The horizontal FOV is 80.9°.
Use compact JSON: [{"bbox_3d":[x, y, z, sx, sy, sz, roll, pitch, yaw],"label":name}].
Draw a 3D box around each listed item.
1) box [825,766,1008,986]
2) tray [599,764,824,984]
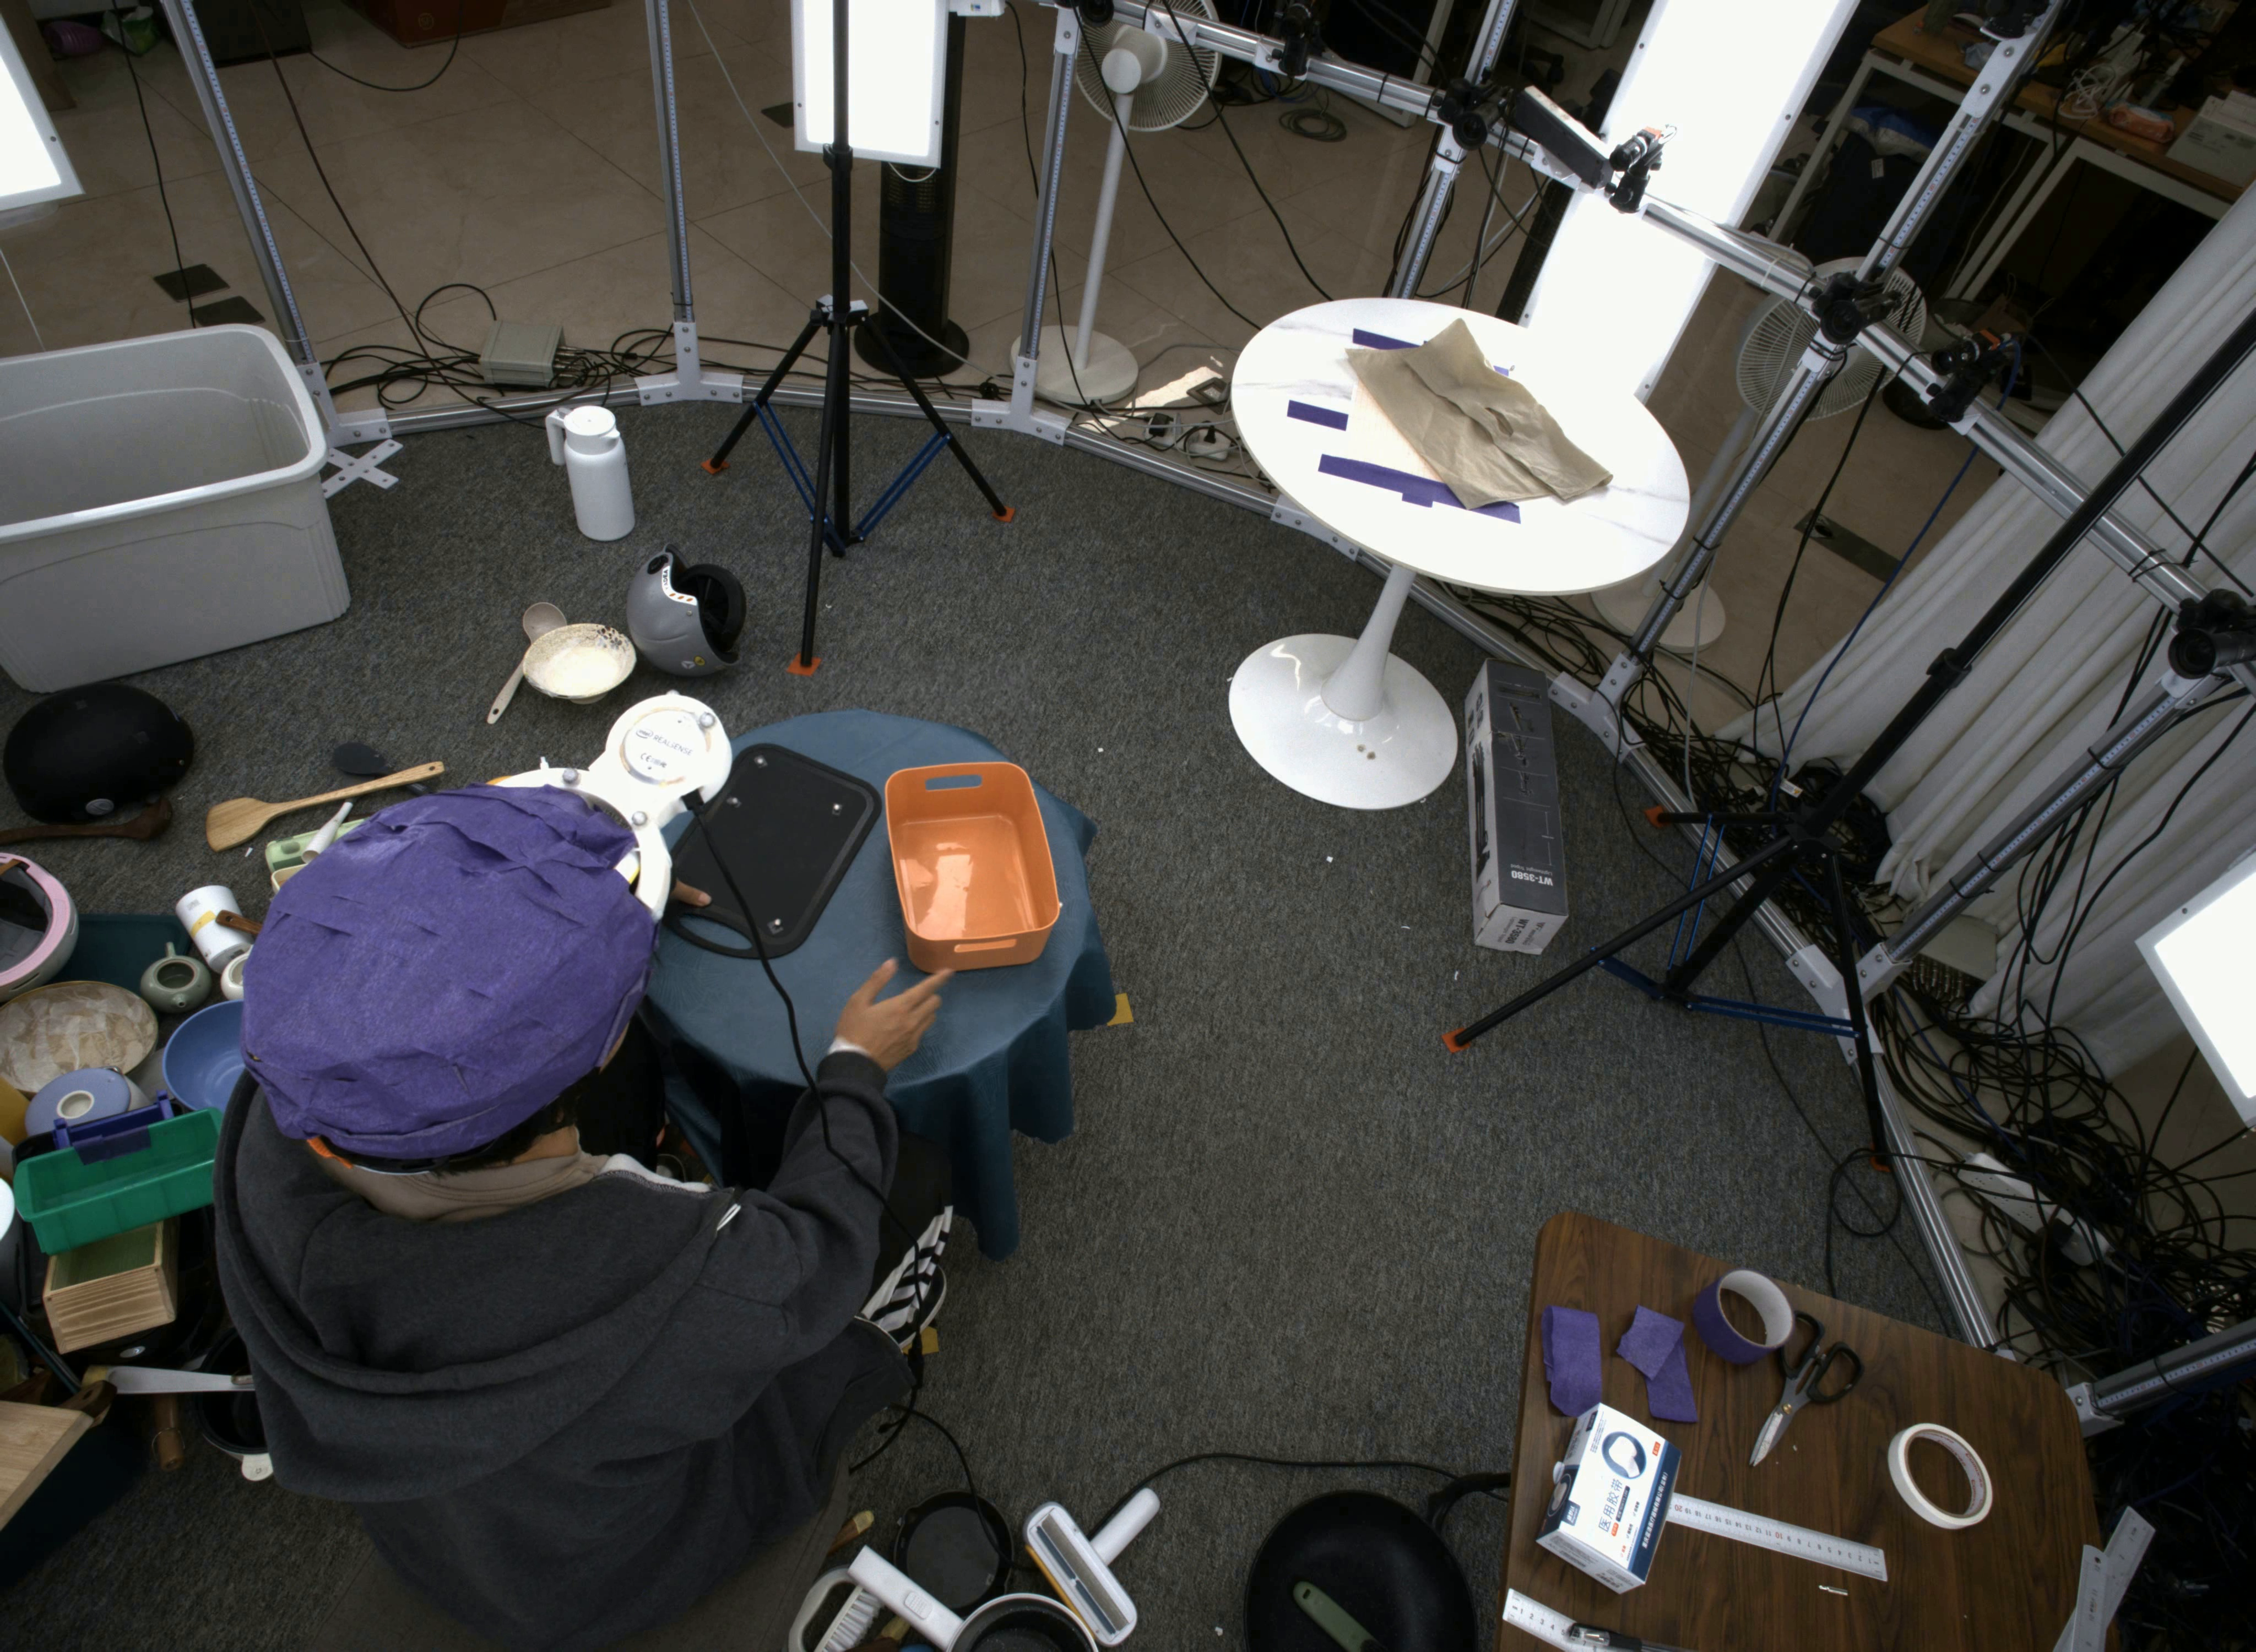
[{"bbox_3d":[-0.273,0.065,1.652,0.200,0.104,0.266,-8,56,-20],"label":"box"},{"bbox_3d":[-0.532,0.057,1.649,0.210,0.010,0.321,20,52,-3],"label":"tray"}]
